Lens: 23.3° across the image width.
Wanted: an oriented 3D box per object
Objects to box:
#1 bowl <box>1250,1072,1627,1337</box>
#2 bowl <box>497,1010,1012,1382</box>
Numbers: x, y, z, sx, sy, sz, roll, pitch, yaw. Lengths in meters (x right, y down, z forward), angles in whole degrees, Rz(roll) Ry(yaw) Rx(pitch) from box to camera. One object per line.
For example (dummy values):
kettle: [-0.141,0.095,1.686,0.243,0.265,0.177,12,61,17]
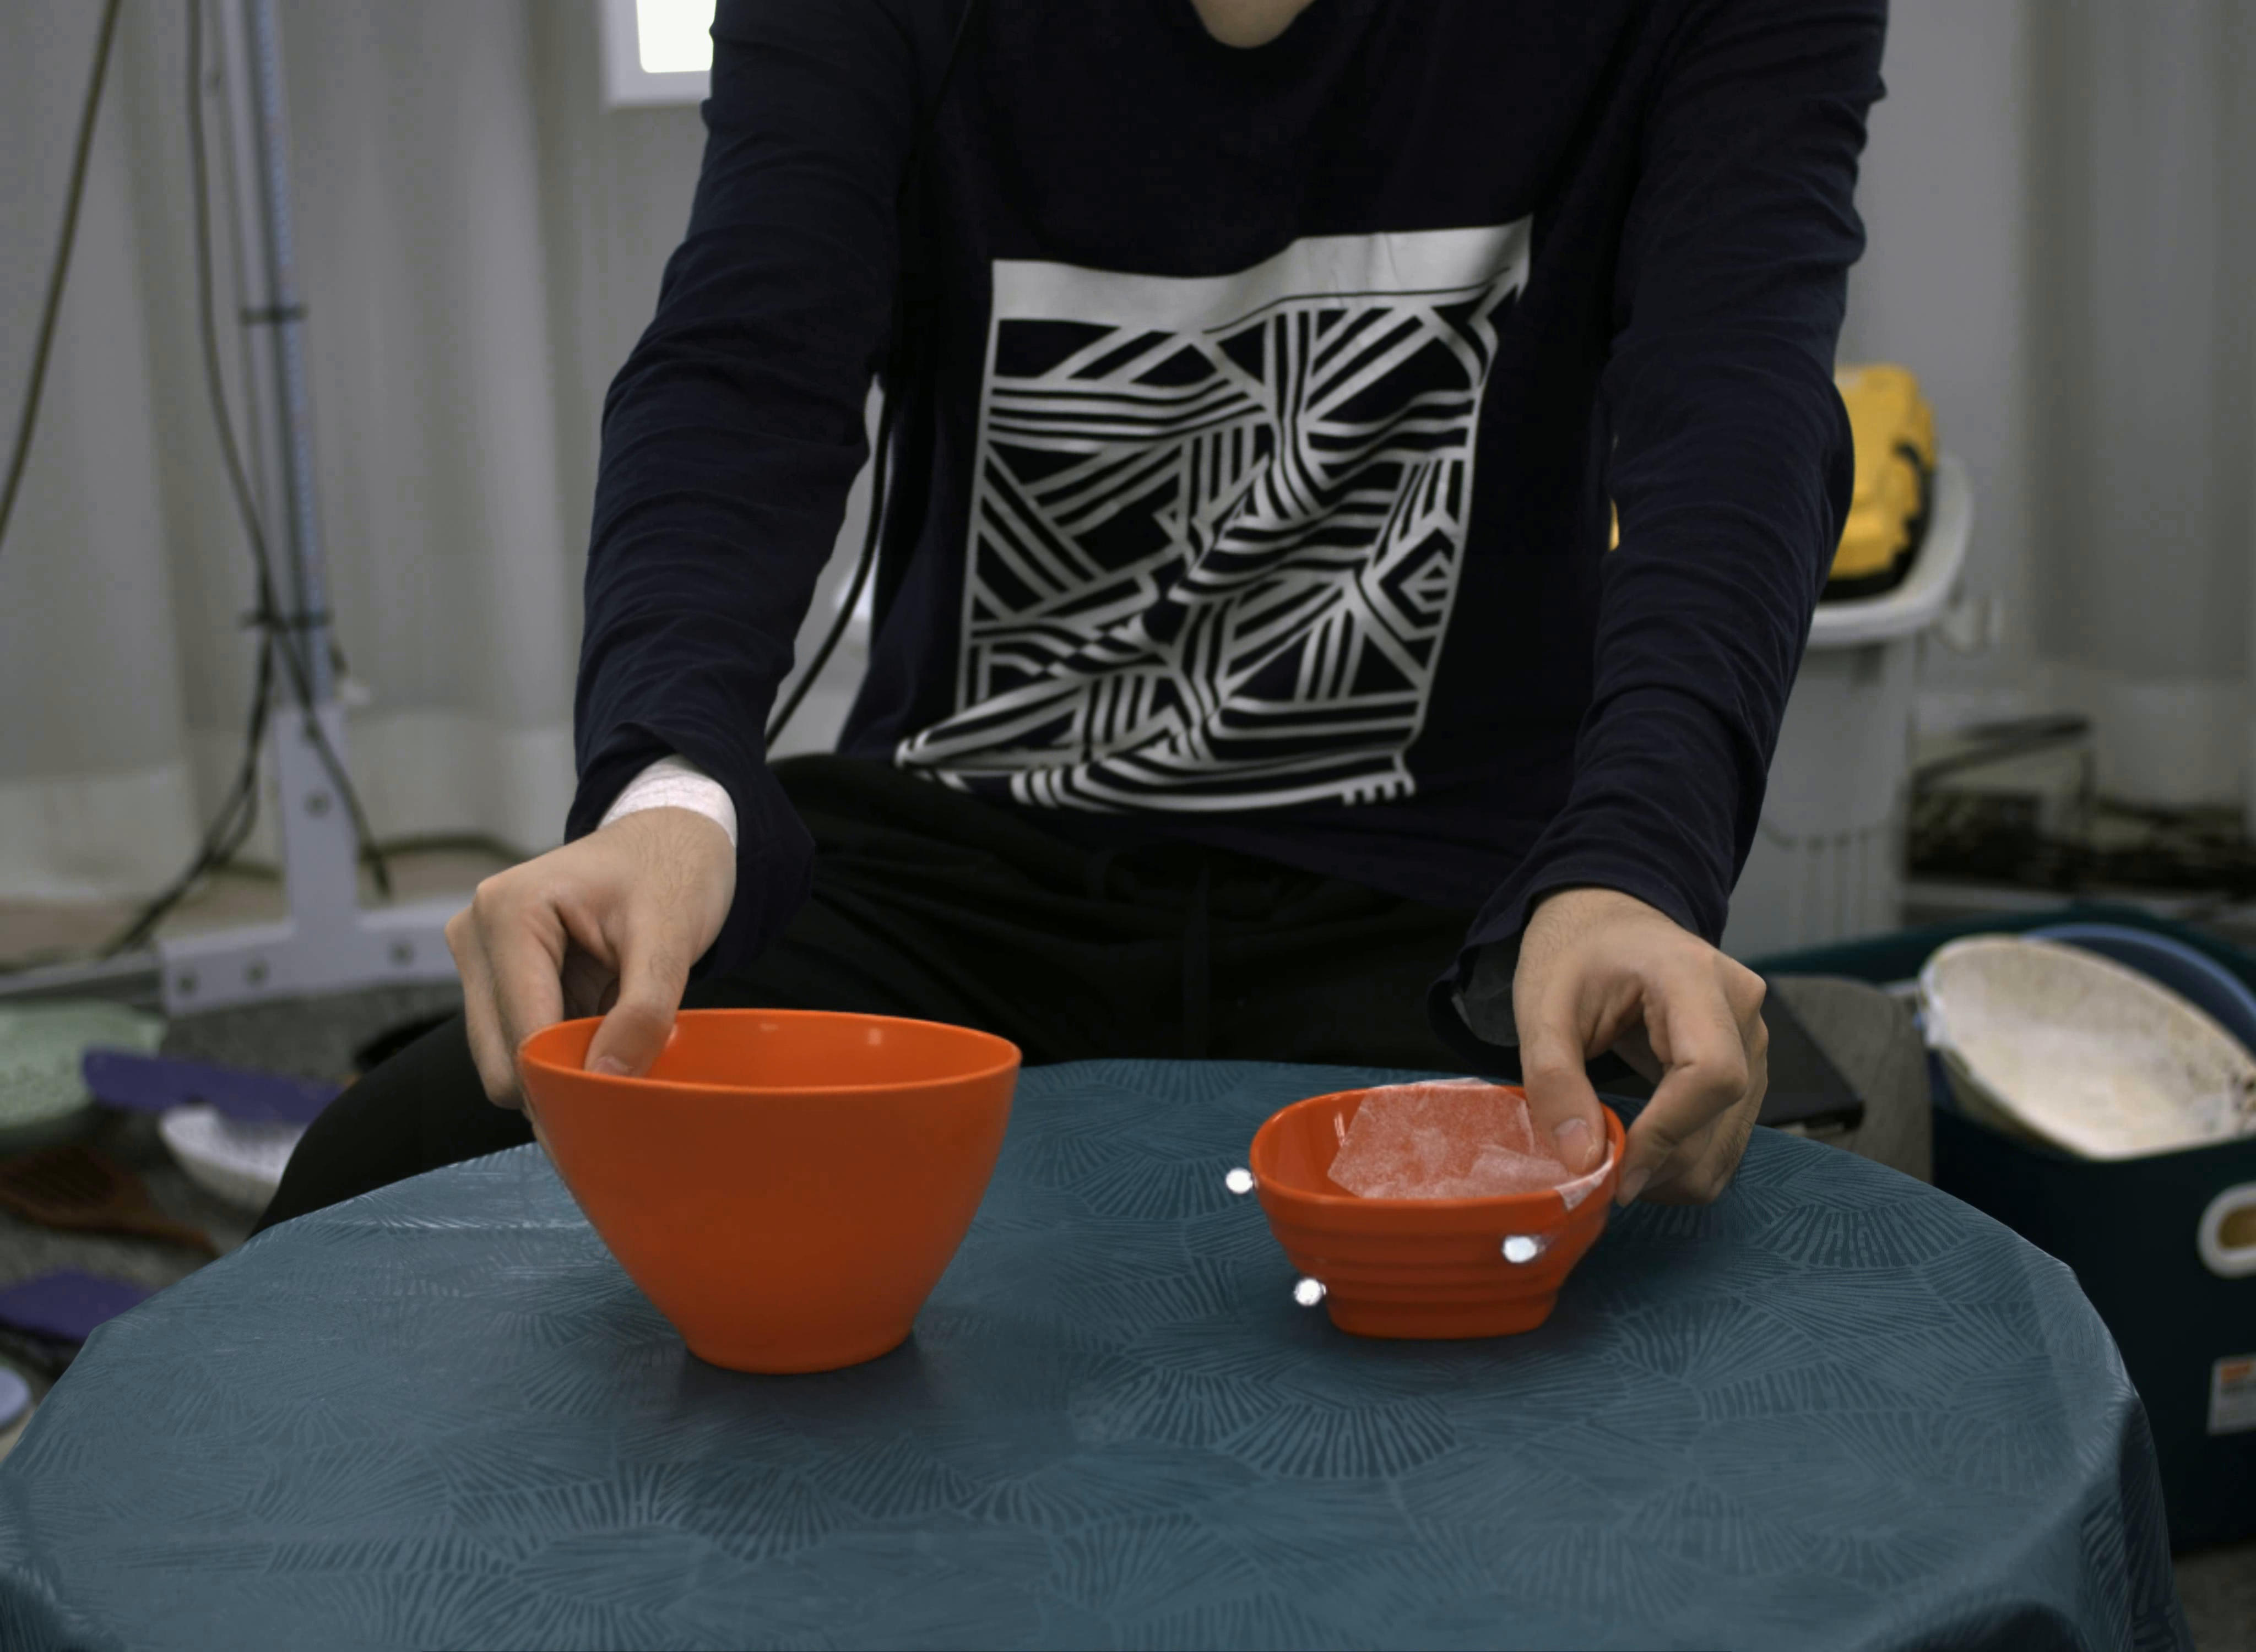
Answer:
bowl: [0.092,0.113,1.599,0.118,0.051,0.120,-4,17,1]
bowl: [-0.105,0.104,1.582,0.147,0.104,0.149,-3,14,1]
